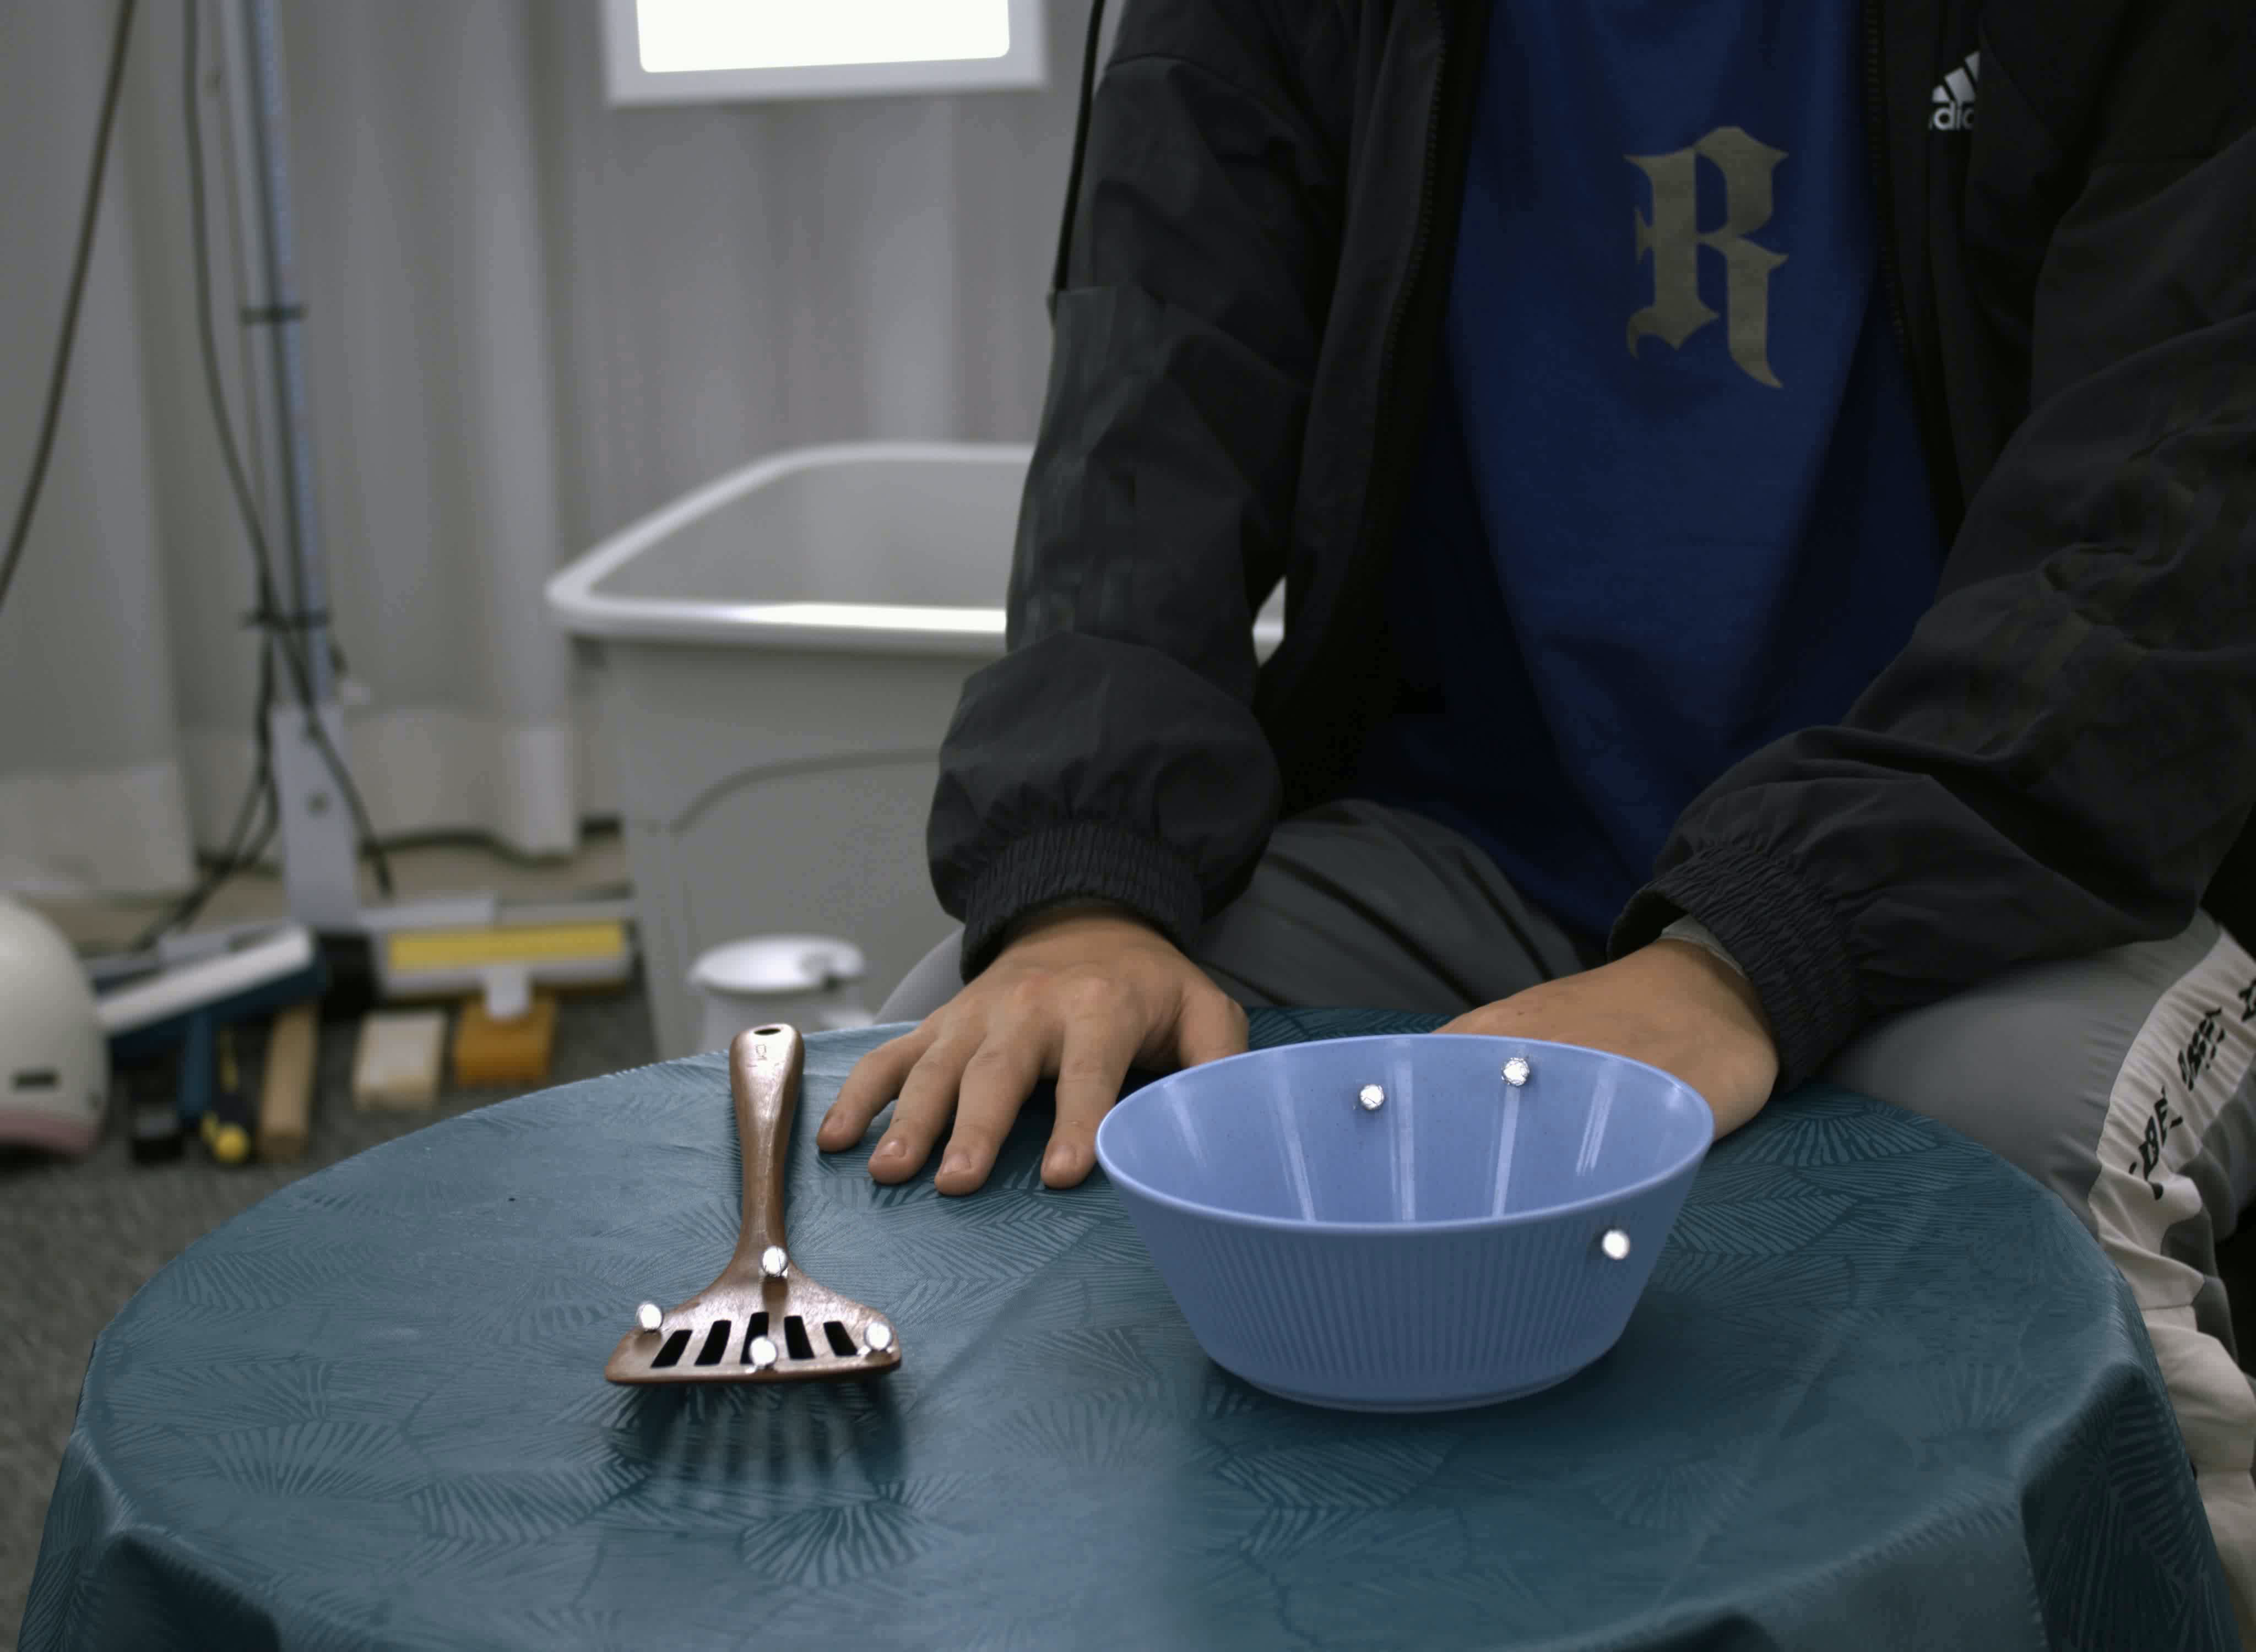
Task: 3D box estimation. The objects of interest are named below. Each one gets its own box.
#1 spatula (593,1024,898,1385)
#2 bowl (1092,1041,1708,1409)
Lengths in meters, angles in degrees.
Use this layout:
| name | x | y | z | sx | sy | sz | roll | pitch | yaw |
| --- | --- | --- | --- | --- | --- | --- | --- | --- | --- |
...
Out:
| name | x | y | z | sx | sy | sz | roll | pitch | yaw |
| --- | --- | --- | --- | --- | --- | --- | --- | --- | --- |
| spatula | -0.113 | 0.117 | 1.684 | 0.085 | 0.024 | 0.389 | -3 | 13 | -2 |
| bowl | 0.078 | 0.116 | 1.555 | 0.175 | 0.070 | 0.177 | -2 | 13 | 0 |
